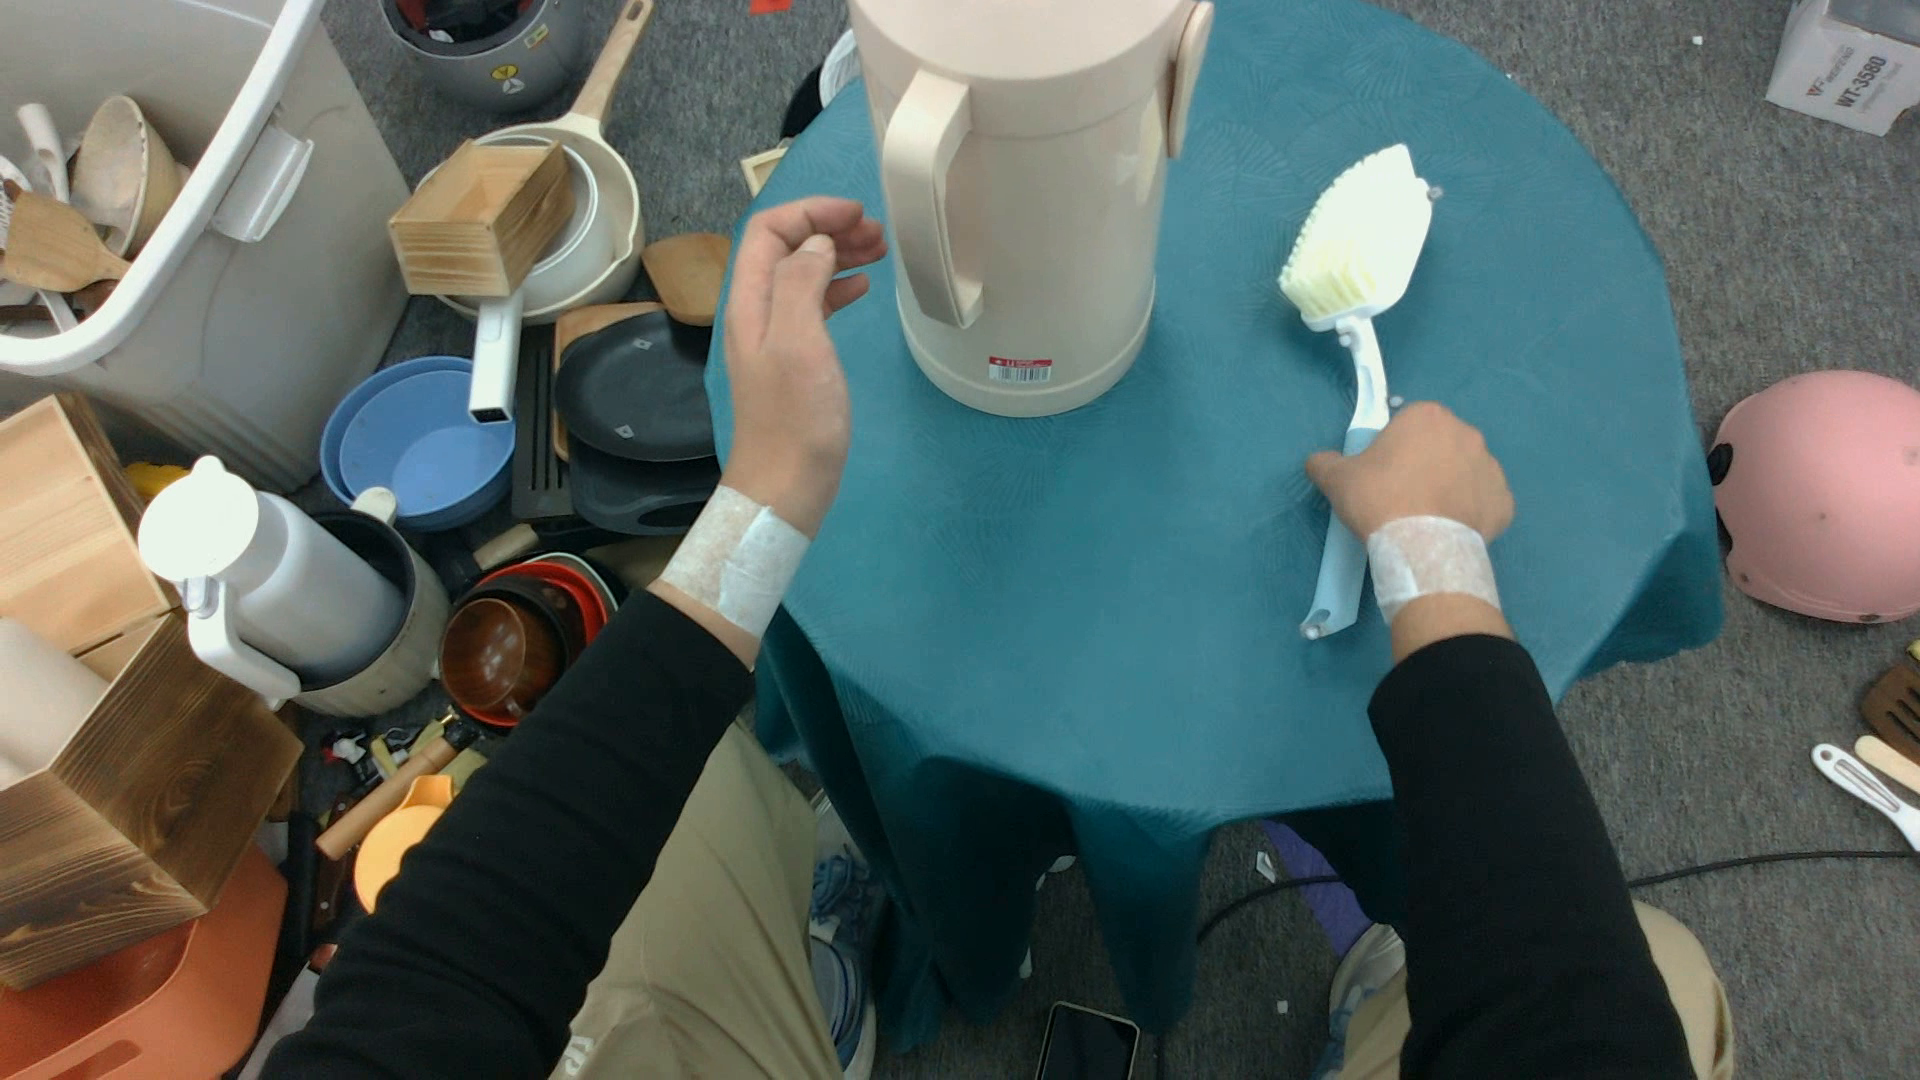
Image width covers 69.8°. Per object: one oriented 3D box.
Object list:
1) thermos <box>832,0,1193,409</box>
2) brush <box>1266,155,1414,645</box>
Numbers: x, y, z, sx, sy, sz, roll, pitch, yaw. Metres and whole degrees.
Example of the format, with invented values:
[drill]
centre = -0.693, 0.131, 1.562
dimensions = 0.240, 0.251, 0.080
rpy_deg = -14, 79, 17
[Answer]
[thermos]
centre = 0.014, -0.215, 0.686
dimensions = 0.175, 0.405, 0.208
rpy_deg = 22, 70, 10
[brush]
centre = 0.212, -0.099, 0.800
dimensions = 0.084, 0.083, 0.326
rpy_deg = 15, 67, 5
